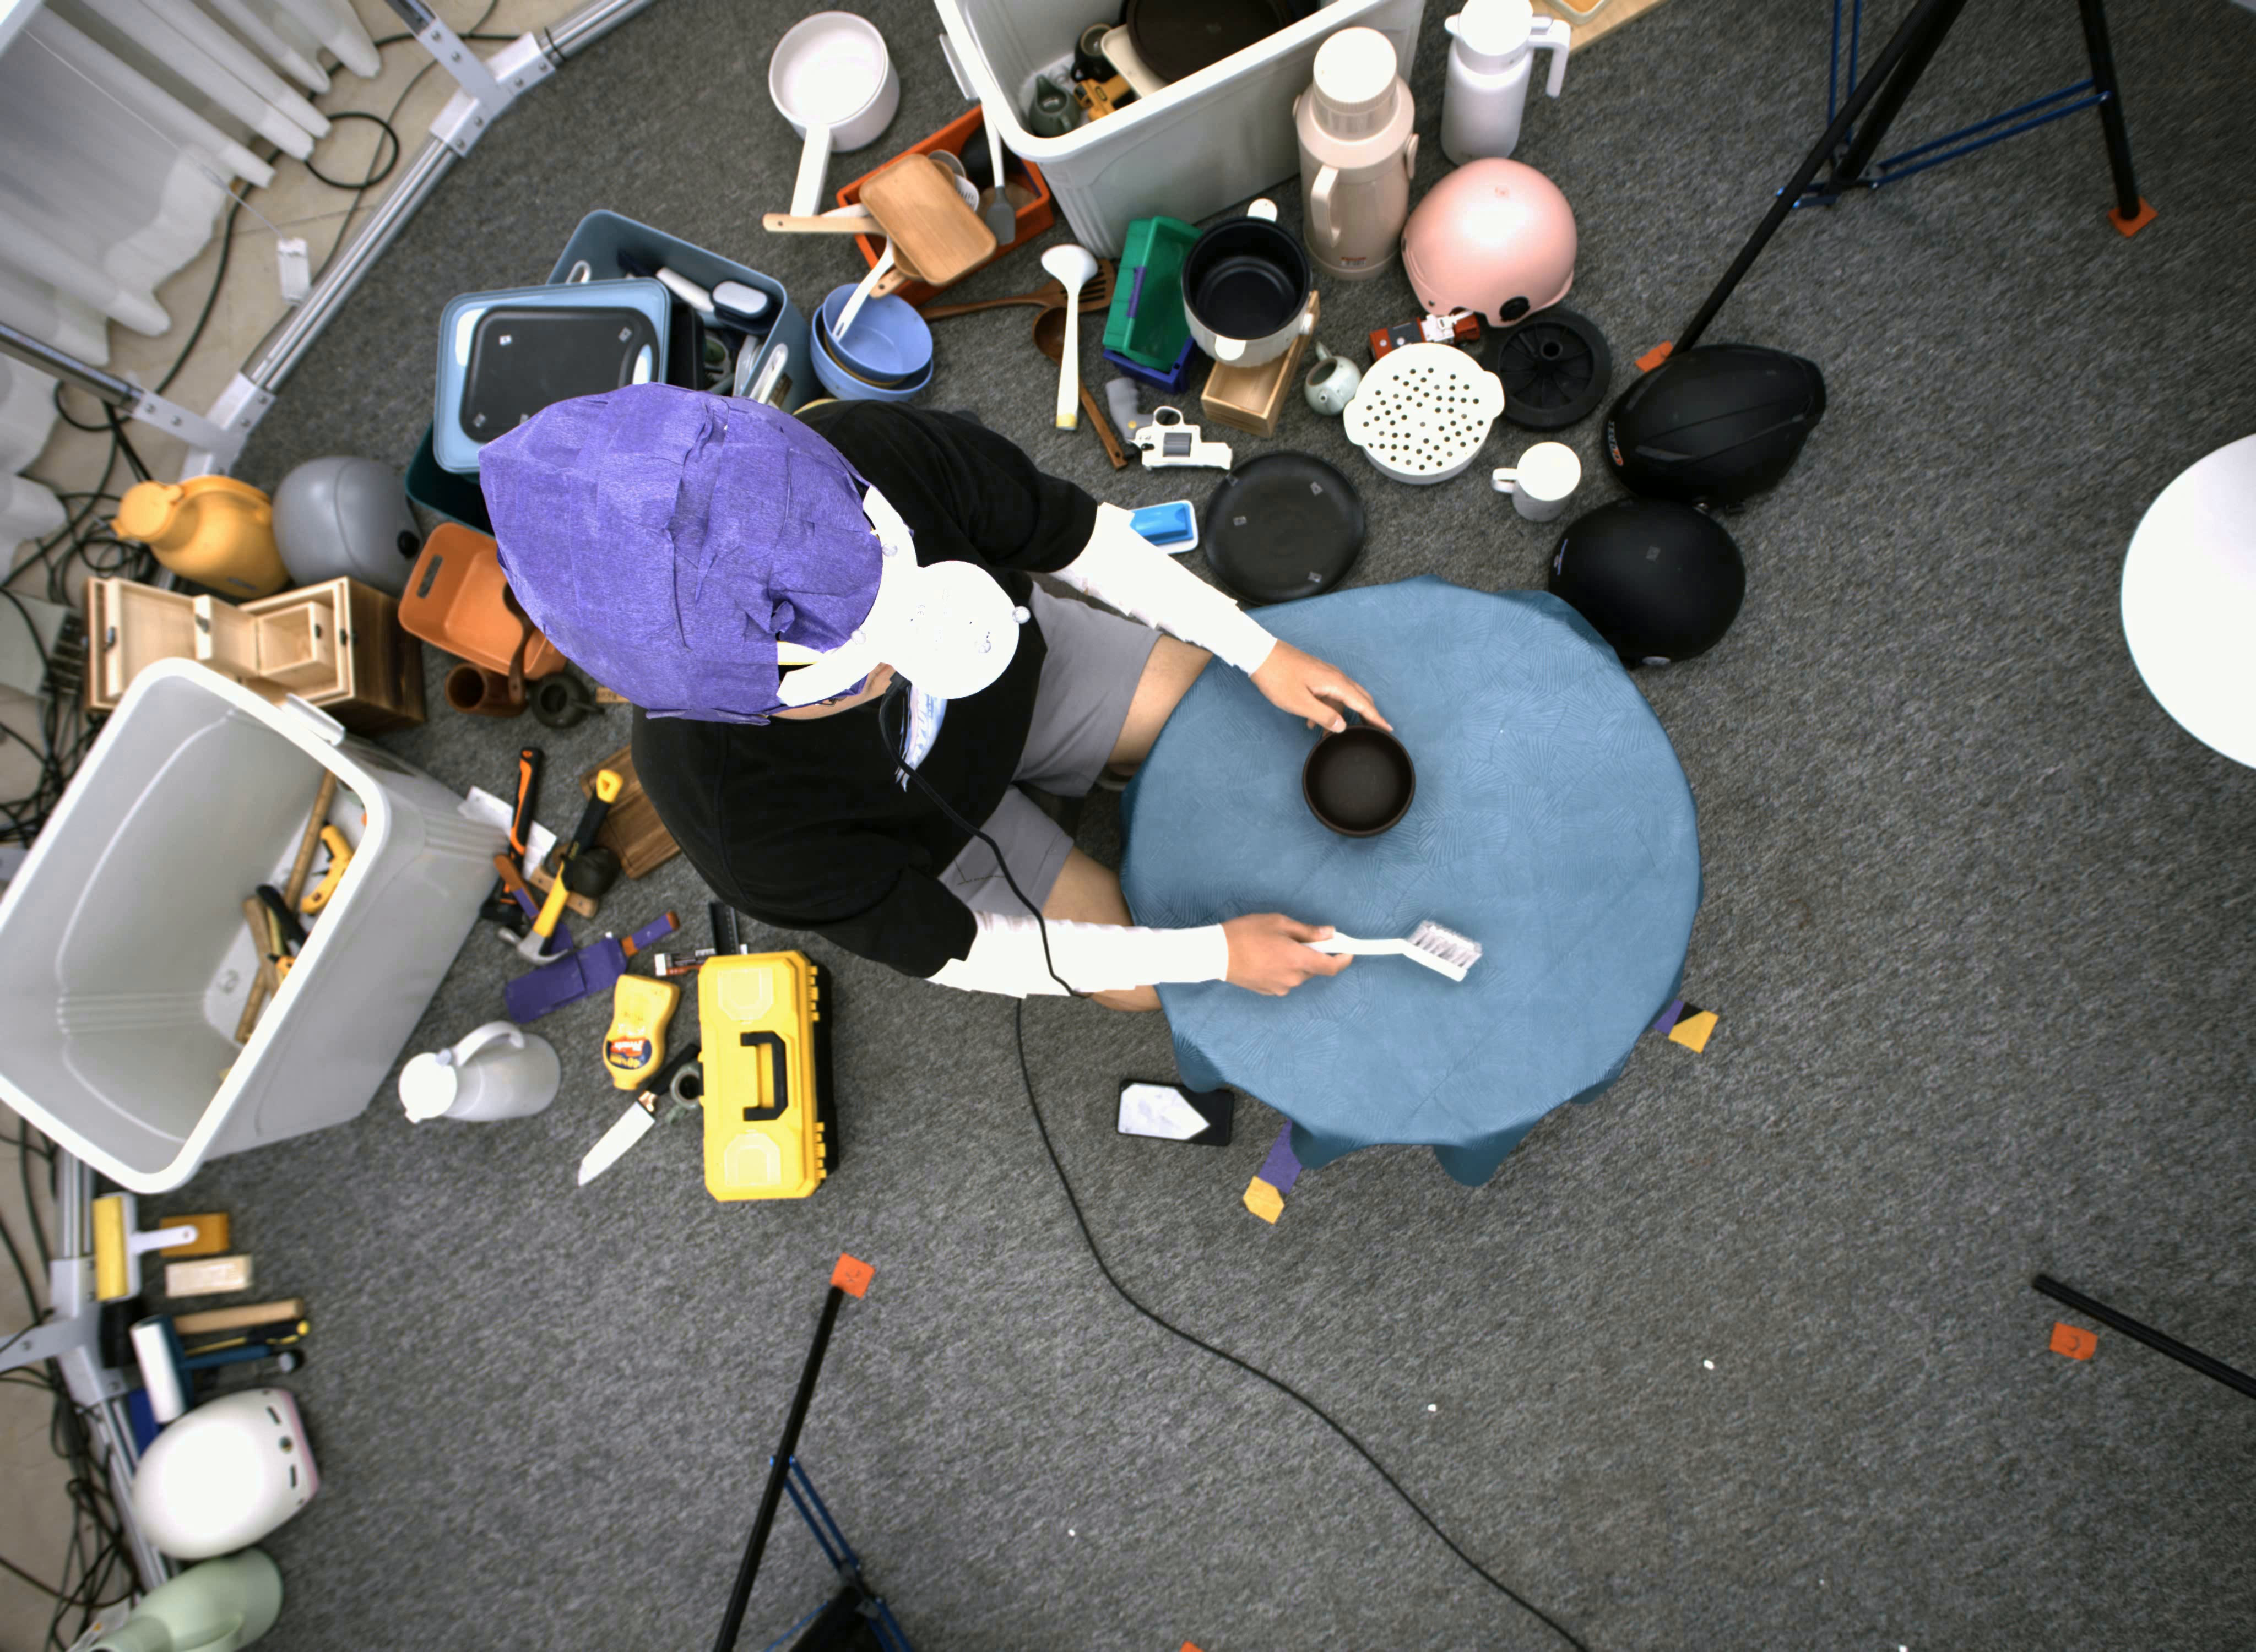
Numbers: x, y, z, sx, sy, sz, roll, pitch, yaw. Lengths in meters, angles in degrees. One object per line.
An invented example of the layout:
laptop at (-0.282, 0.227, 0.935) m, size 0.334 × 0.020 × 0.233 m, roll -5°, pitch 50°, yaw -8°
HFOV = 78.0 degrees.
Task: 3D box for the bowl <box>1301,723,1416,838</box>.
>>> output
bowl at (0.240, -0.045, 1.433) m, size 0.118 × 0.070 × 0.117 m, roll -1°, pitch 86°, yaw 13°

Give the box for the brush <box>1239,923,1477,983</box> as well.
brush at (0.236, 0.111, 1.422) m, size 0.244 × 0.034 × 0.051 m, roll 11°, pitch 110°, yaw 14°
